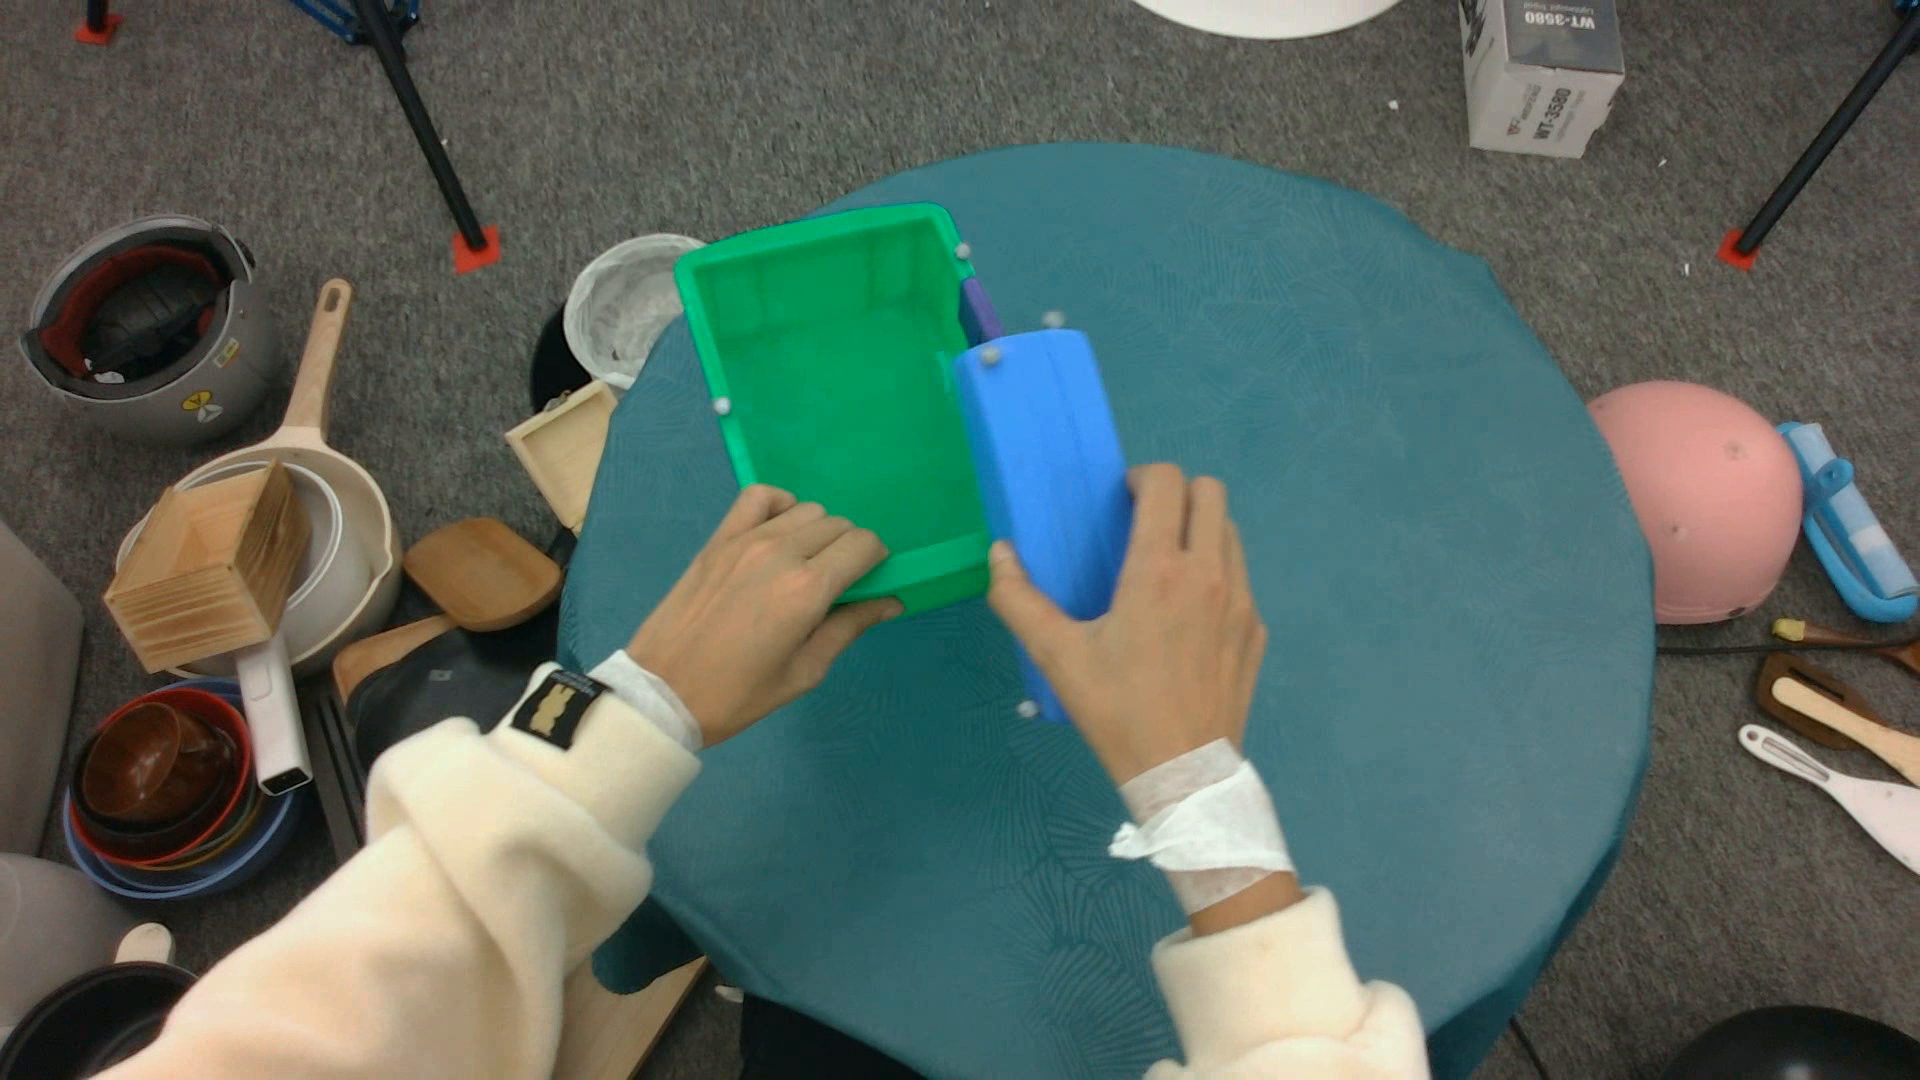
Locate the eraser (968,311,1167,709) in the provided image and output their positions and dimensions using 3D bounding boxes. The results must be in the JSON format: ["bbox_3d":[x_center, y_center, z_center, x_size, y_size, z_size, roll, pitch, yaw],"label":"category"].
[{"bbox_3d":[0.045,-0.012,0.559,0.054,0.047,0.162,-11,91,-15],"label":"eraser"}]

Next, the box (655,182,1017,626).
[{"bbox_3d":[-0.049,-0.064,0.641,0.139,0.065,0.211,-15,61,-15],"label":"box"}]
